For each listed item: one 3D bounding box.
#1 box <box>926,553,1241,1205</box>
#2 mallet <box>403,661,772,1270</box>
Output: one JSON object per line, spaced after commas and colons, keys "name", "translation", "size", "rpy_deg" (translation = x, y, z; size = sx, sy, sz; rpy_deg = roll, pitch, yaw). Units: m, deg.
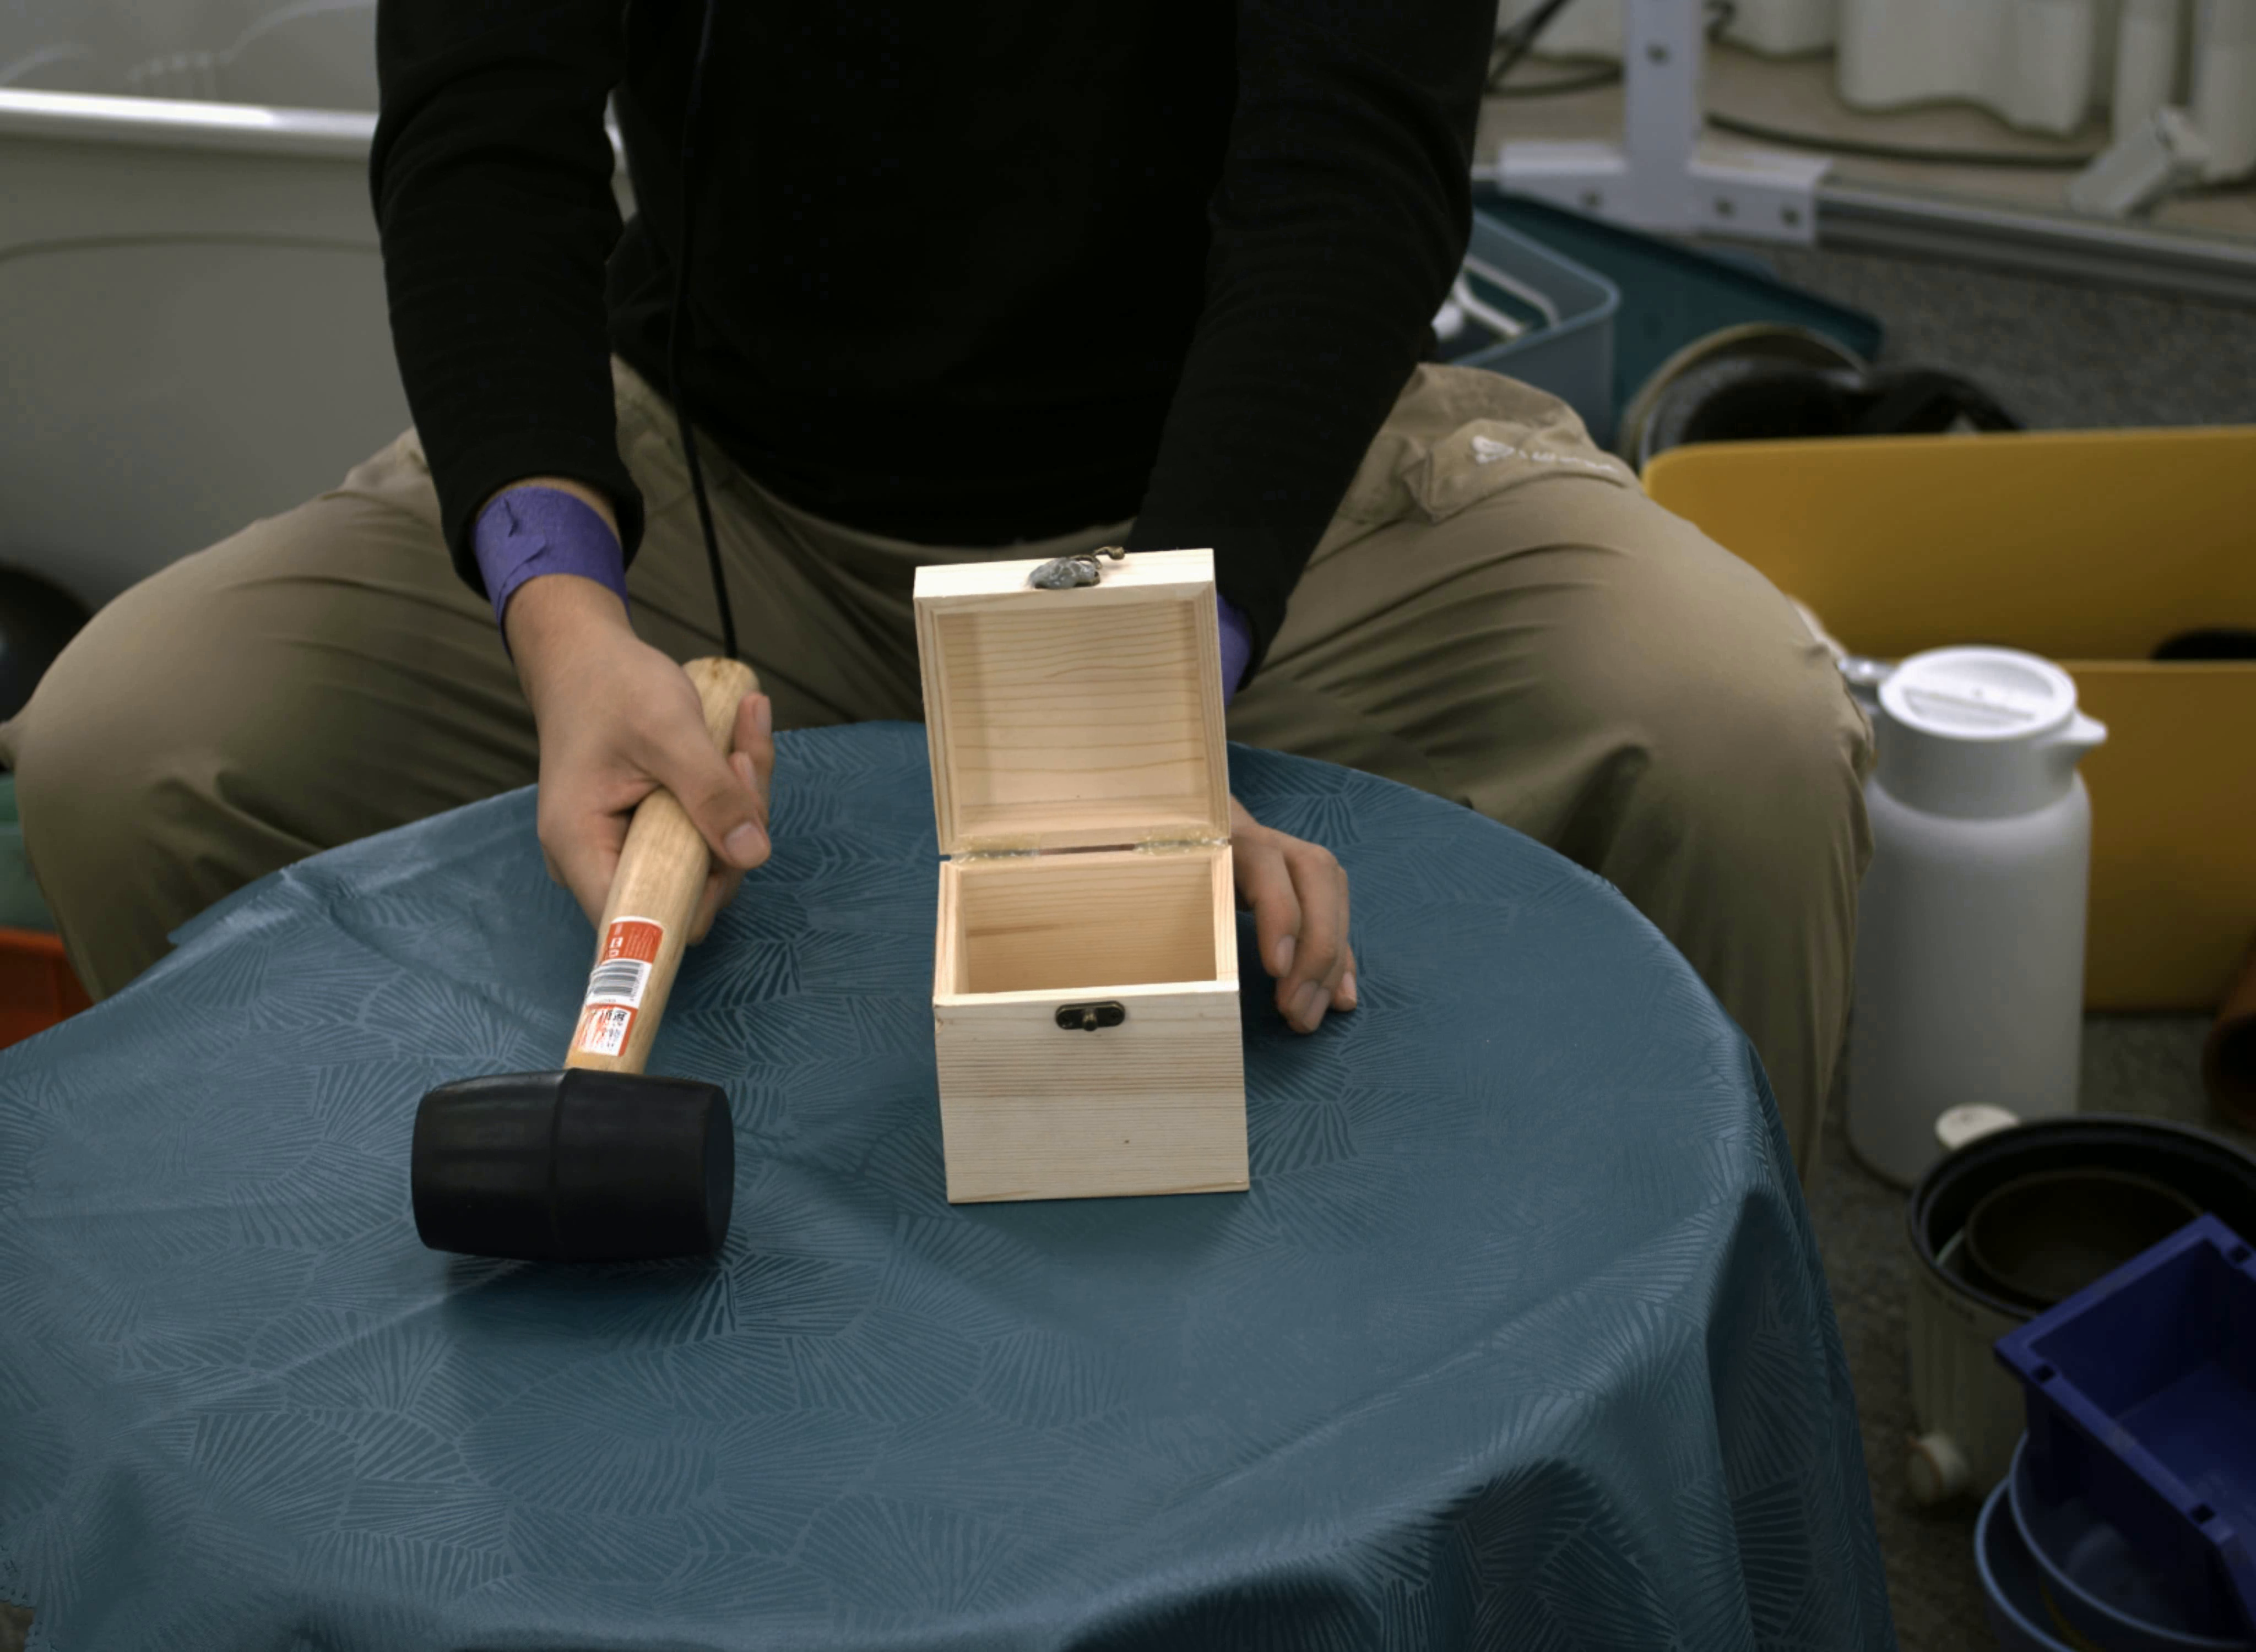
{"name": "box", "translation": [-0.015, 0.016, 1.871], "size": [0.102, 0.183, 0.136], "rpy_deg": [-2, 24, 0]}
{"name": "mallet", "translation": [-0.167, 0.033, 1.939], "size": [0.101, 0.063, 0.345], "rpy_deg": [4, 35, 5]}
